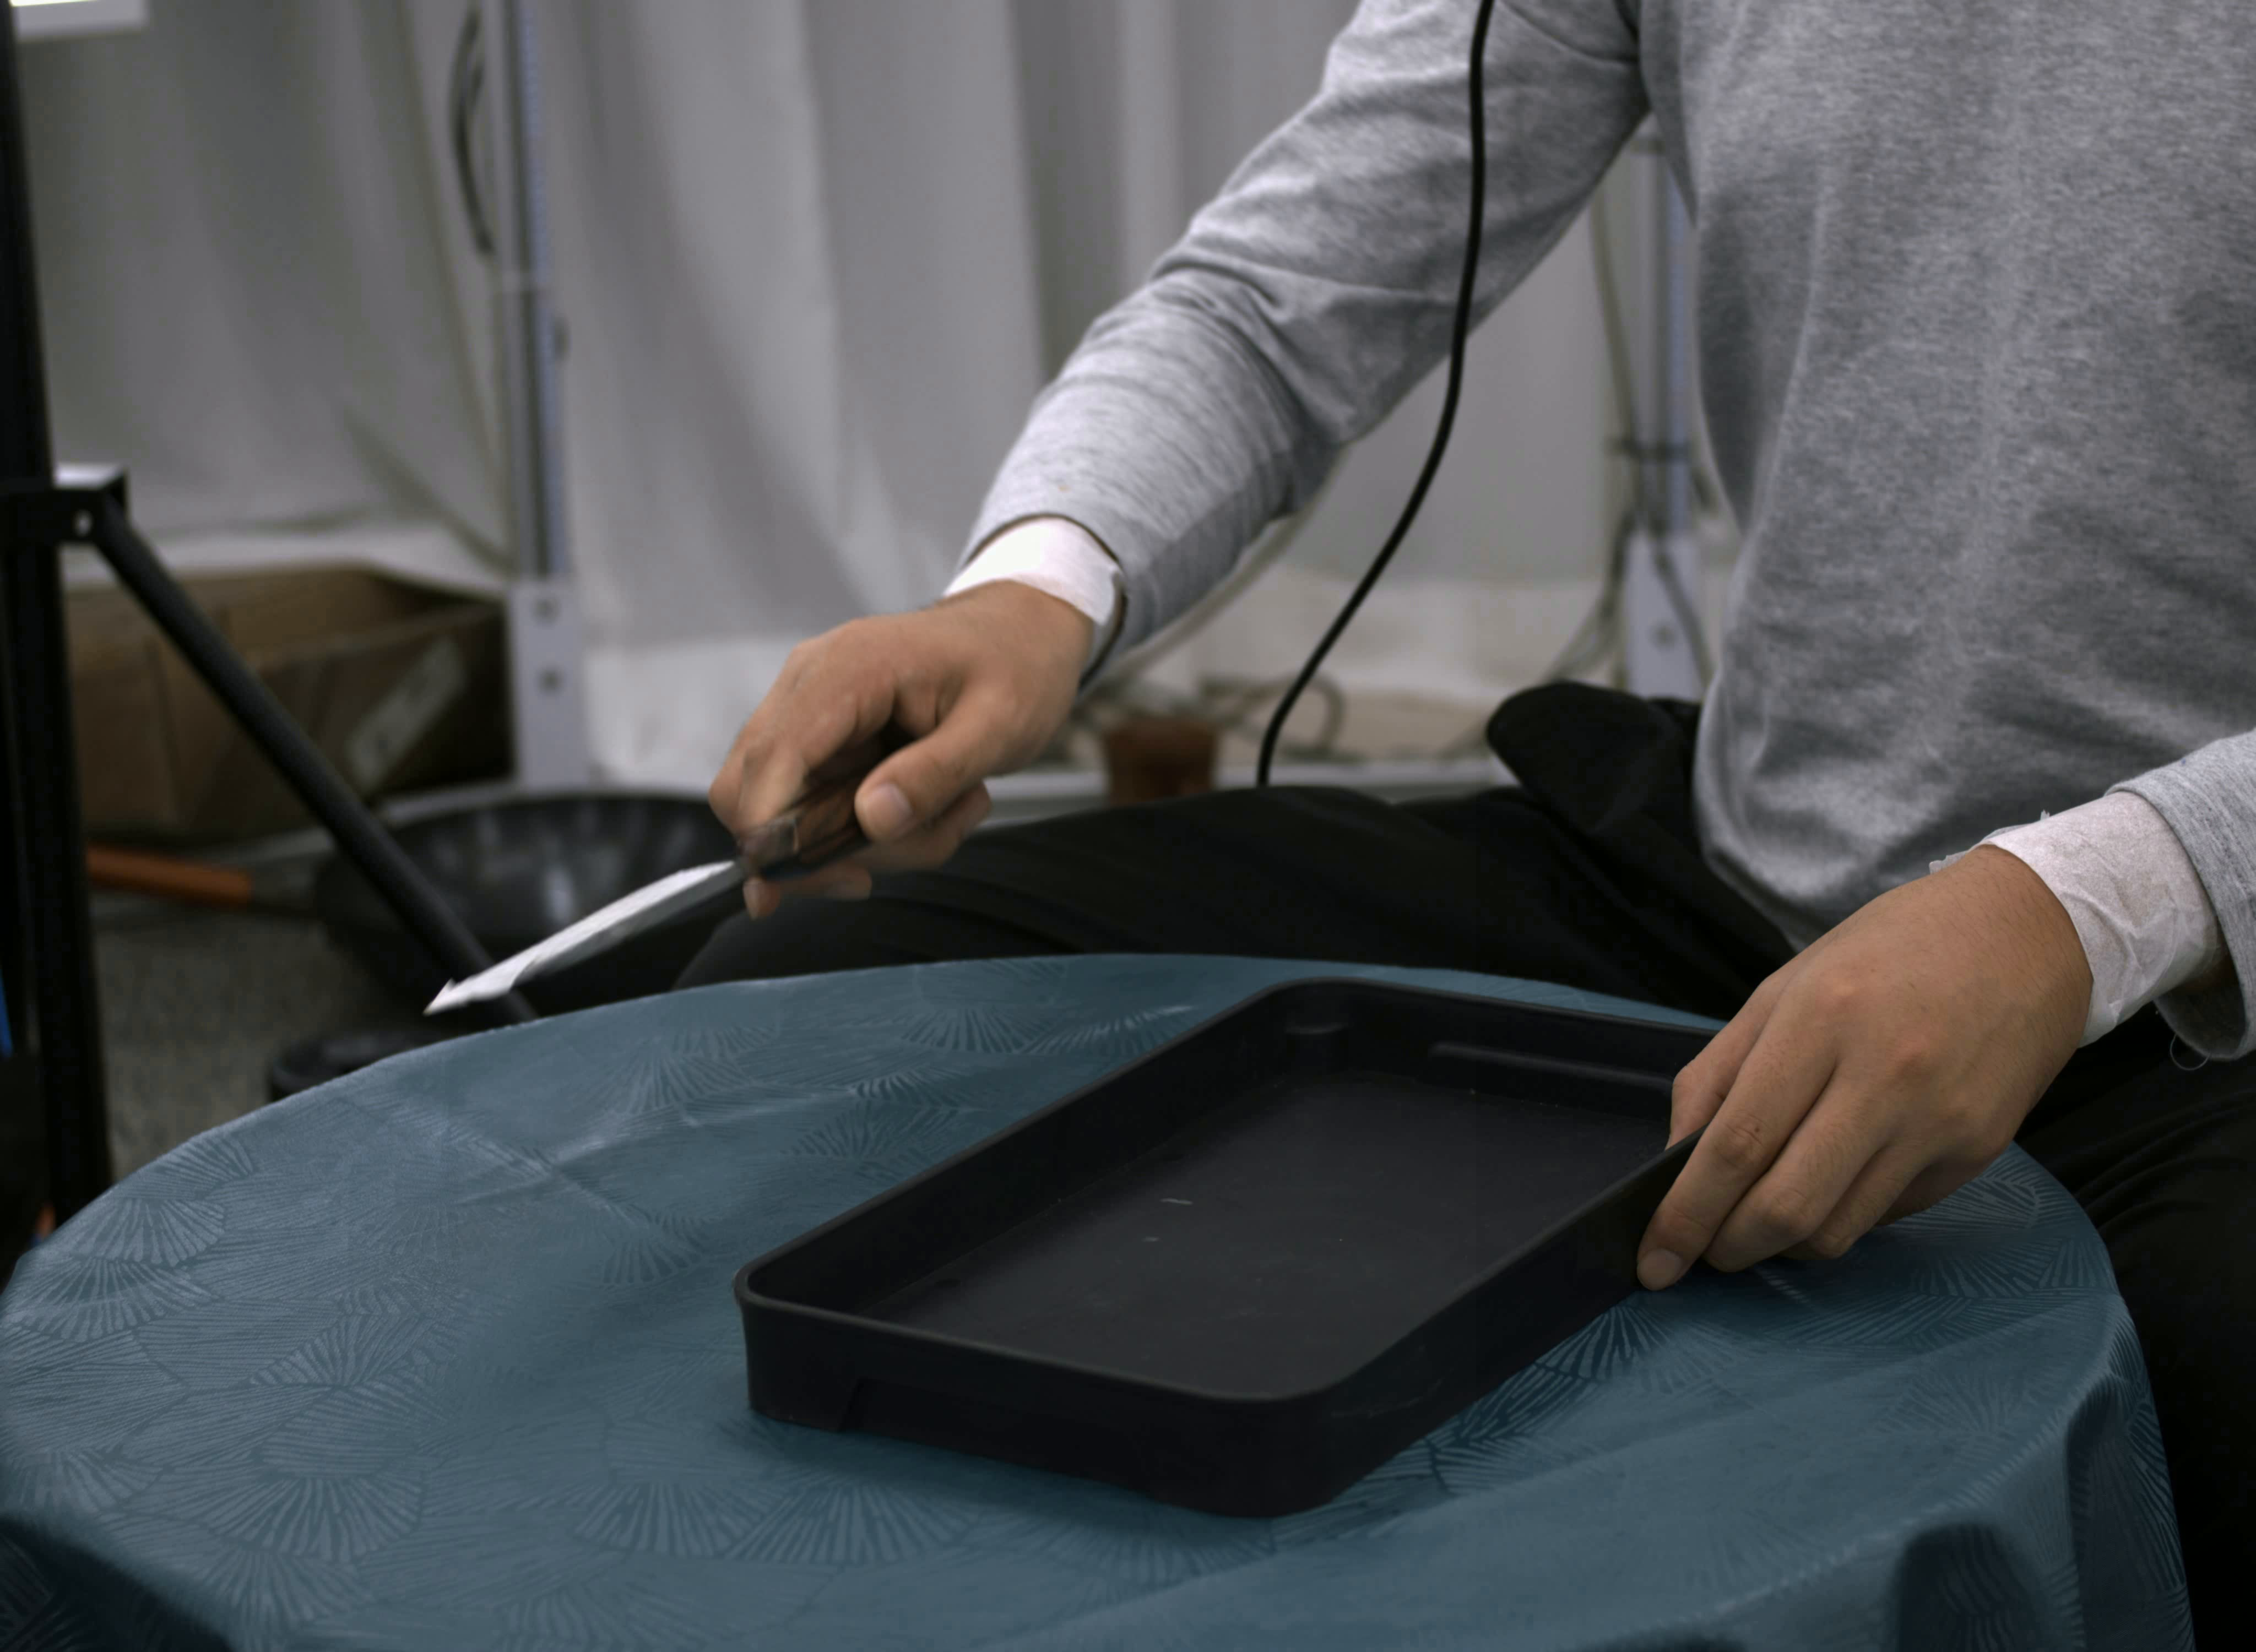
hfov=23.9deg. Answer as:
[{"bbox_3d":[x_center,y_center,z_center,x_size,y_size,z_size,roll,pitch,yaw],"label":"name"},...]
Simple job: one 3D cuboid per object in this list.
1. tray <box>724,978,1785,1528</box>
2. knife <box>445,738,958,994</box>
[{"bbox_3d":[0.043,0.111,1.477,0.187,0.037,0.312,7,18,30],"label":"tray"},{"bbox_3d":[-0.121,0.013,1.572,0.051,0.020,0.284,-14,7,28],"label":"knife"}]
